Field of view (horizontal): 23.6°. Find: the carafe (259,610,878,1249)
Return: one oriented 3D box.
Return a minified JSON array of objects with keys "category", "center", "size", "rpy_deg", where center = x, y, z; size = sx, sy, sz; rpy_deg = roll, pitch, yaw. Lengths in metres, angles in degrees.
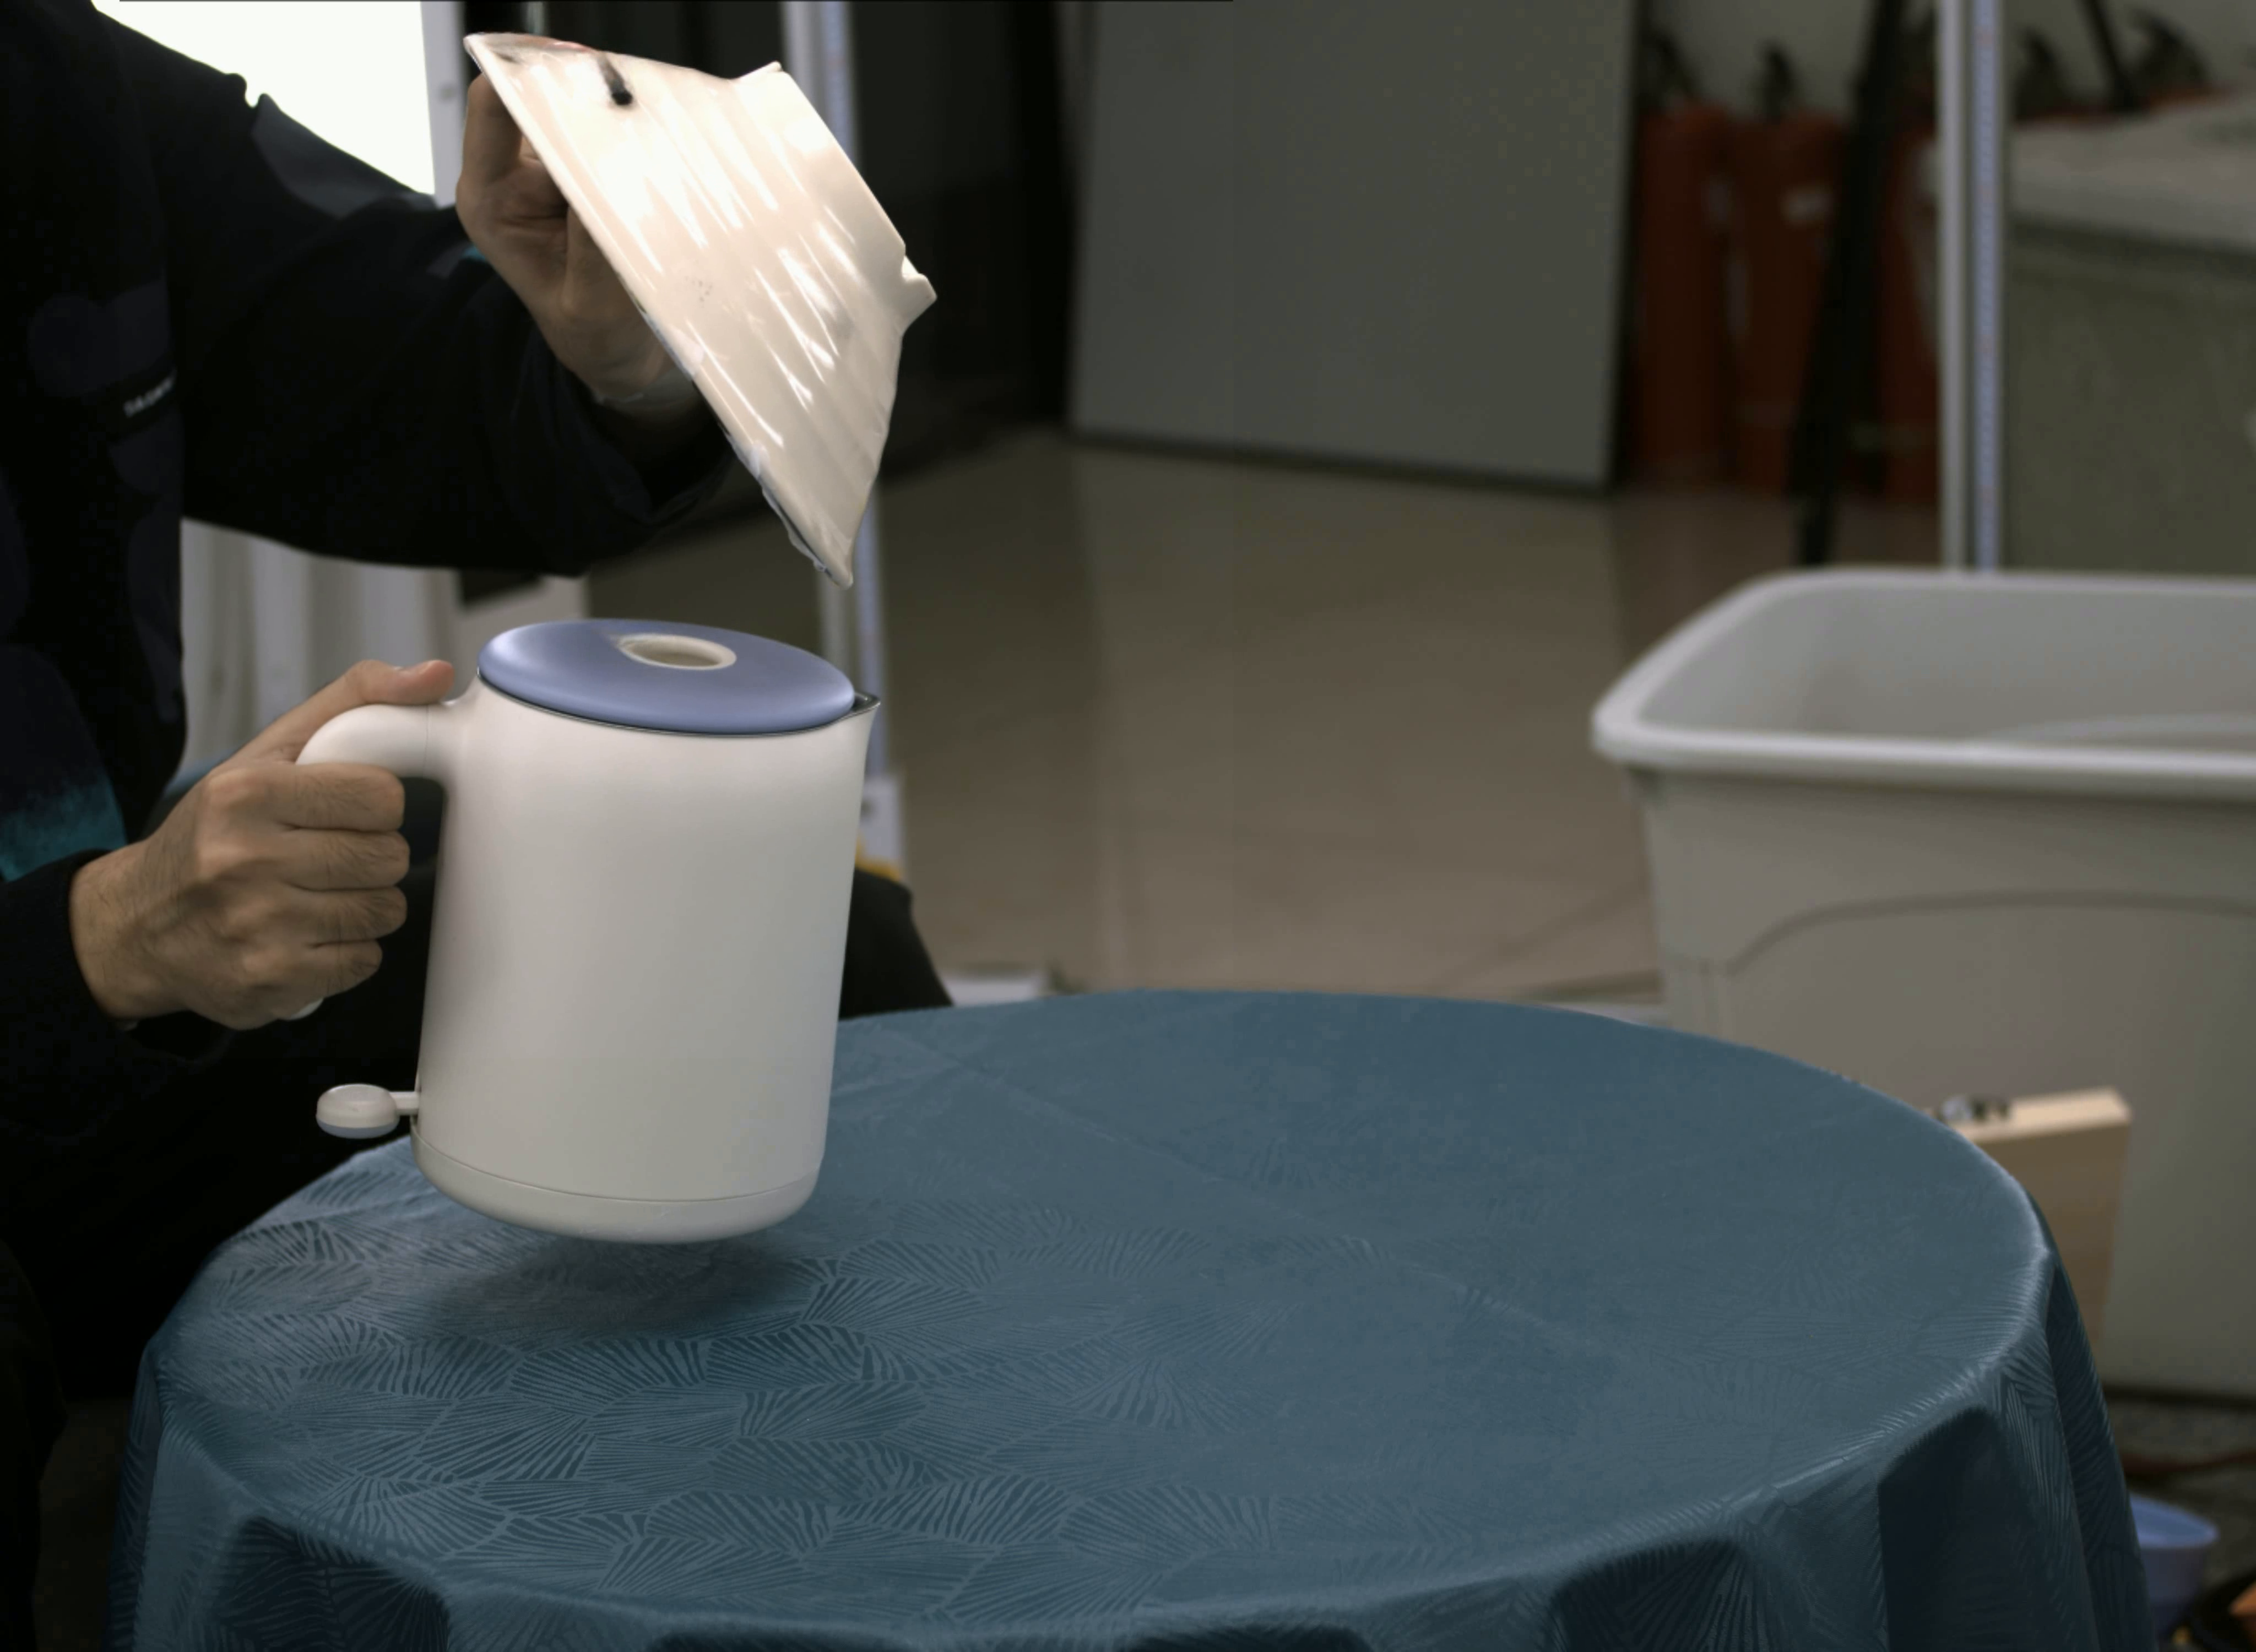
[{"category":"carafe","center":[-0.174,0.031,1.683],"size":[0.187,0.185,0.133],"rpy_deg":[0,13,-13]}]

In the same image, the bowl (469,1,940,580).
[{"category":"bowl","center":[-0.112,-0.181,1.639],"size":[0.077,0.204,0.205],"rpy_deg":[-33,13,3]}]
